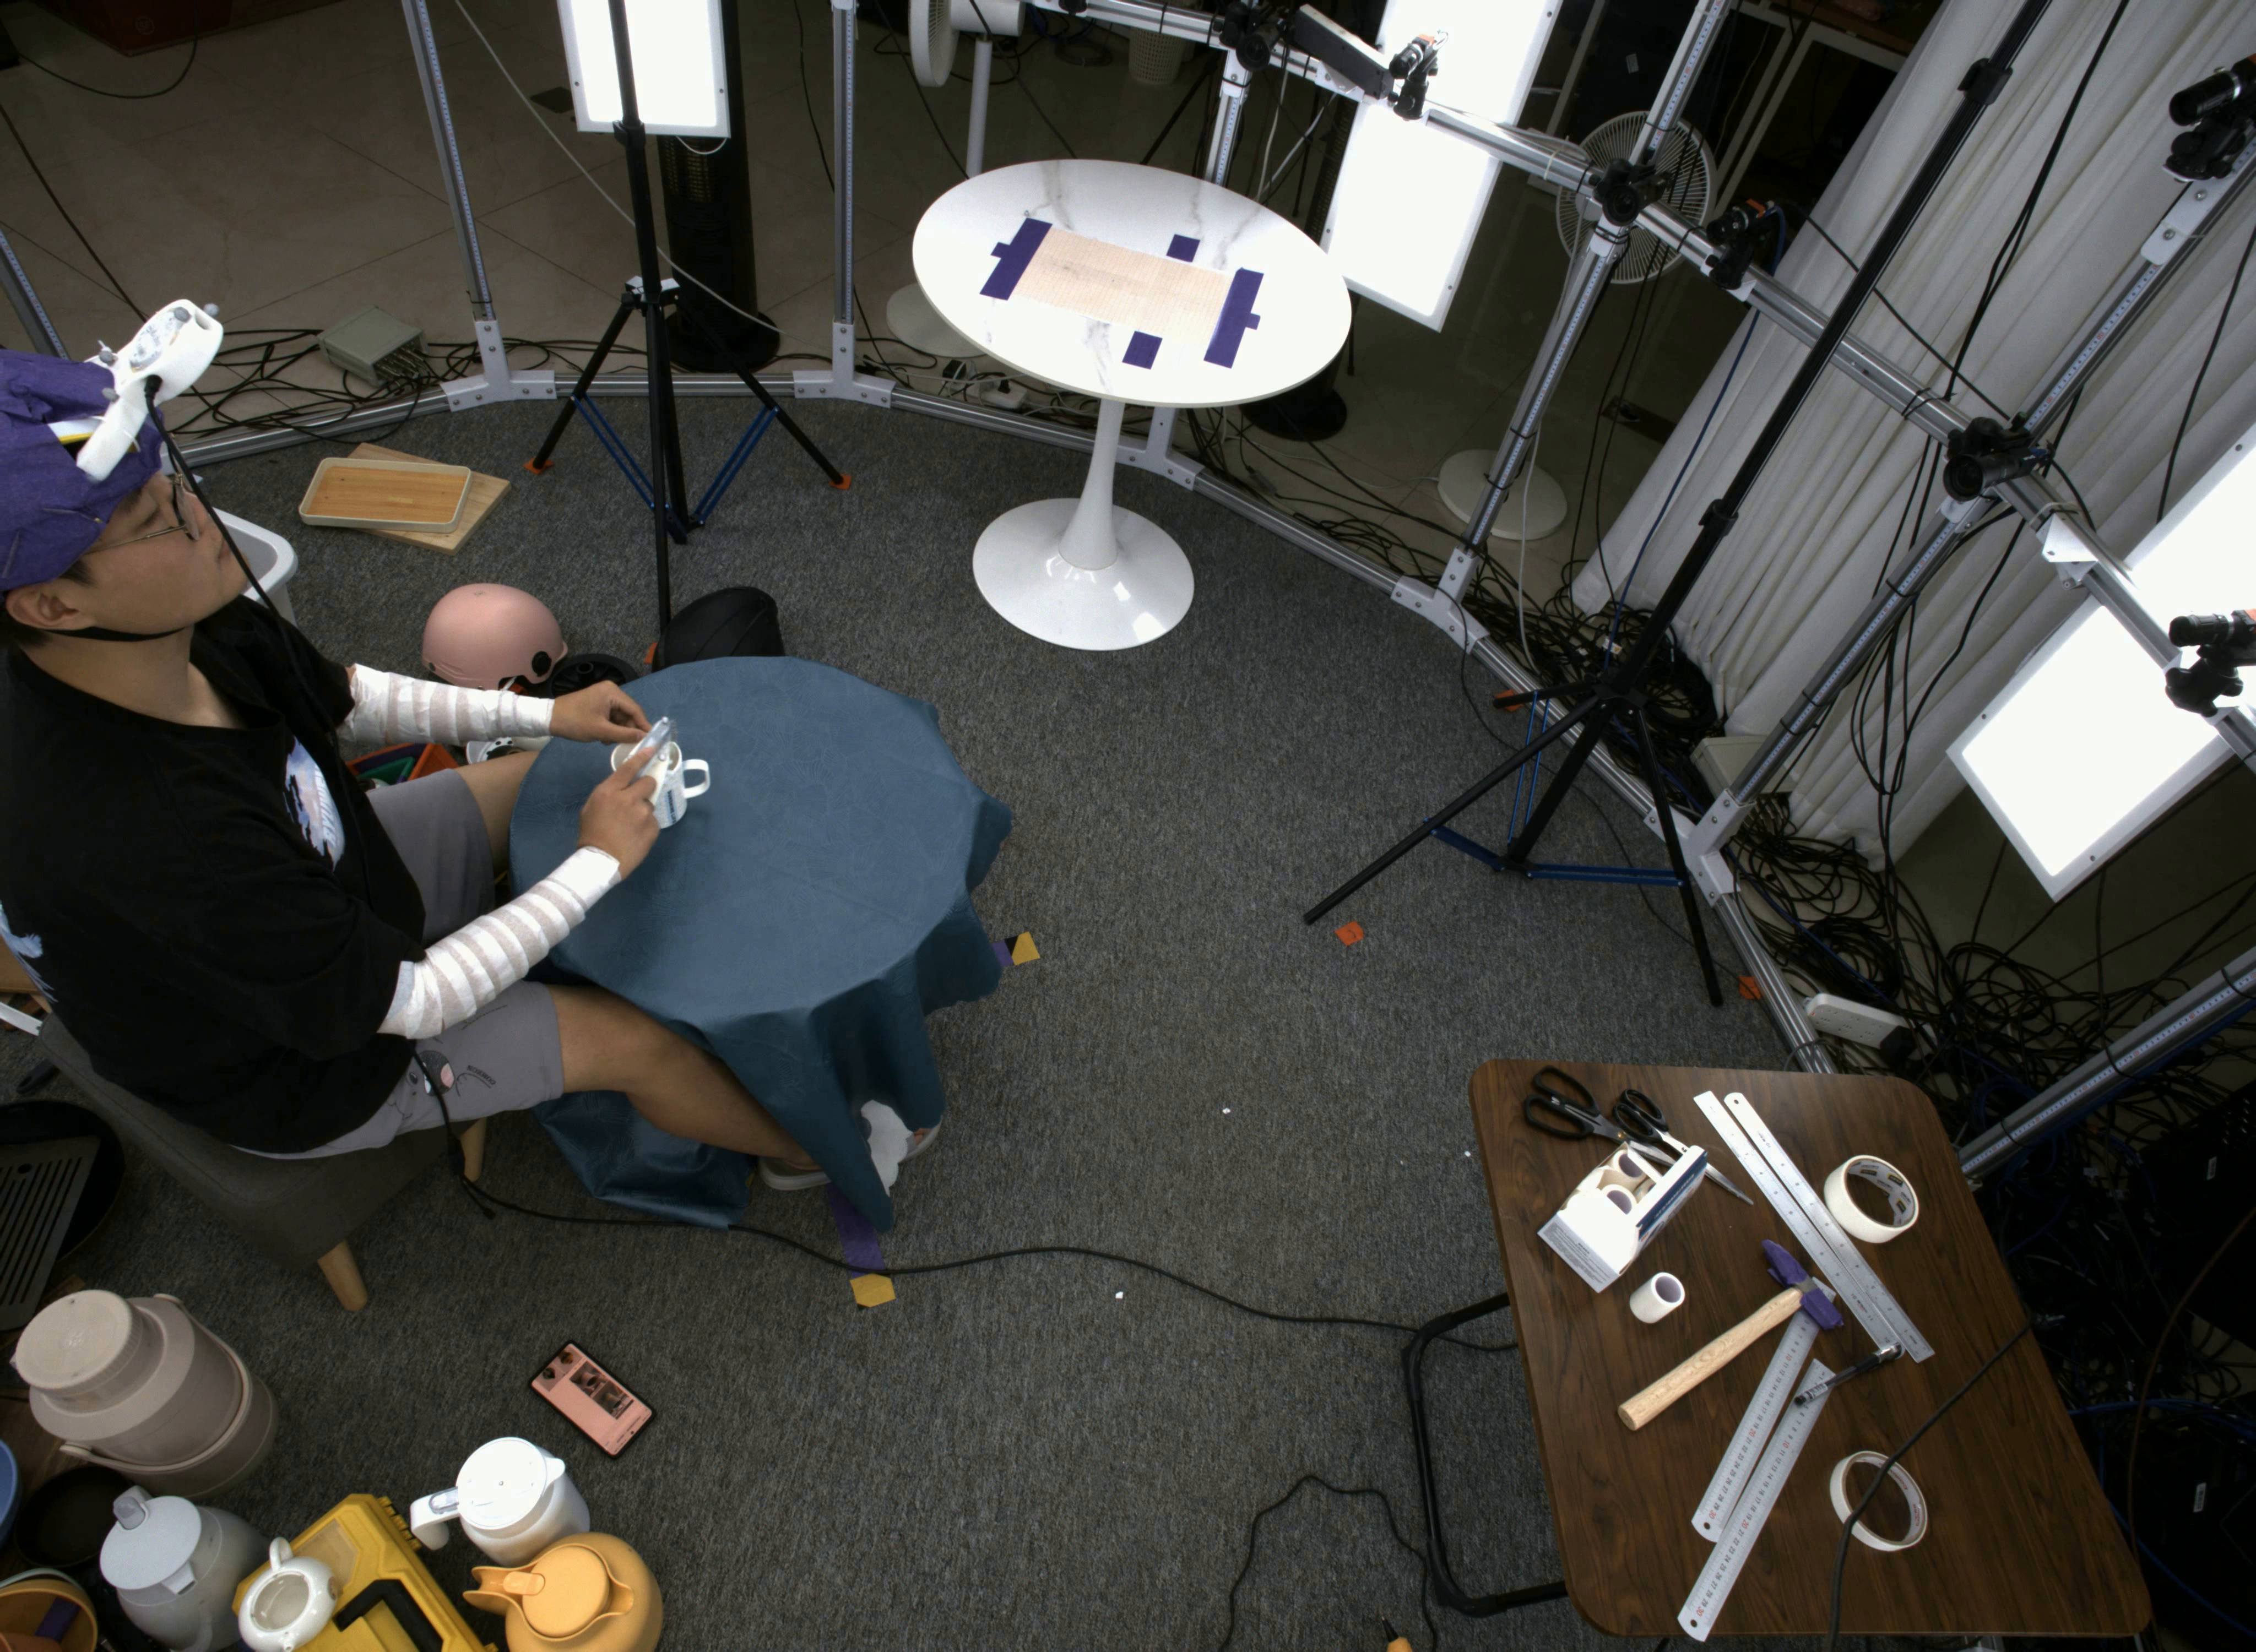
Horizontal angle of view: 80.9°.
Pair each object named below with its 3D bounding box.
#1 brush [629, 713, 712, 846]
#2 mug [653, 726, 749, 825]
[{"bbox_3d":[-0.557,-0.069,1.585,0.062,0.093,0.175,27,75,-13],"label":"brush"},{"bbox_3d":[-0.555,-0.066,1.685,0.118,0.104,0.083,-5,54,-17],"label":"mug"}]
